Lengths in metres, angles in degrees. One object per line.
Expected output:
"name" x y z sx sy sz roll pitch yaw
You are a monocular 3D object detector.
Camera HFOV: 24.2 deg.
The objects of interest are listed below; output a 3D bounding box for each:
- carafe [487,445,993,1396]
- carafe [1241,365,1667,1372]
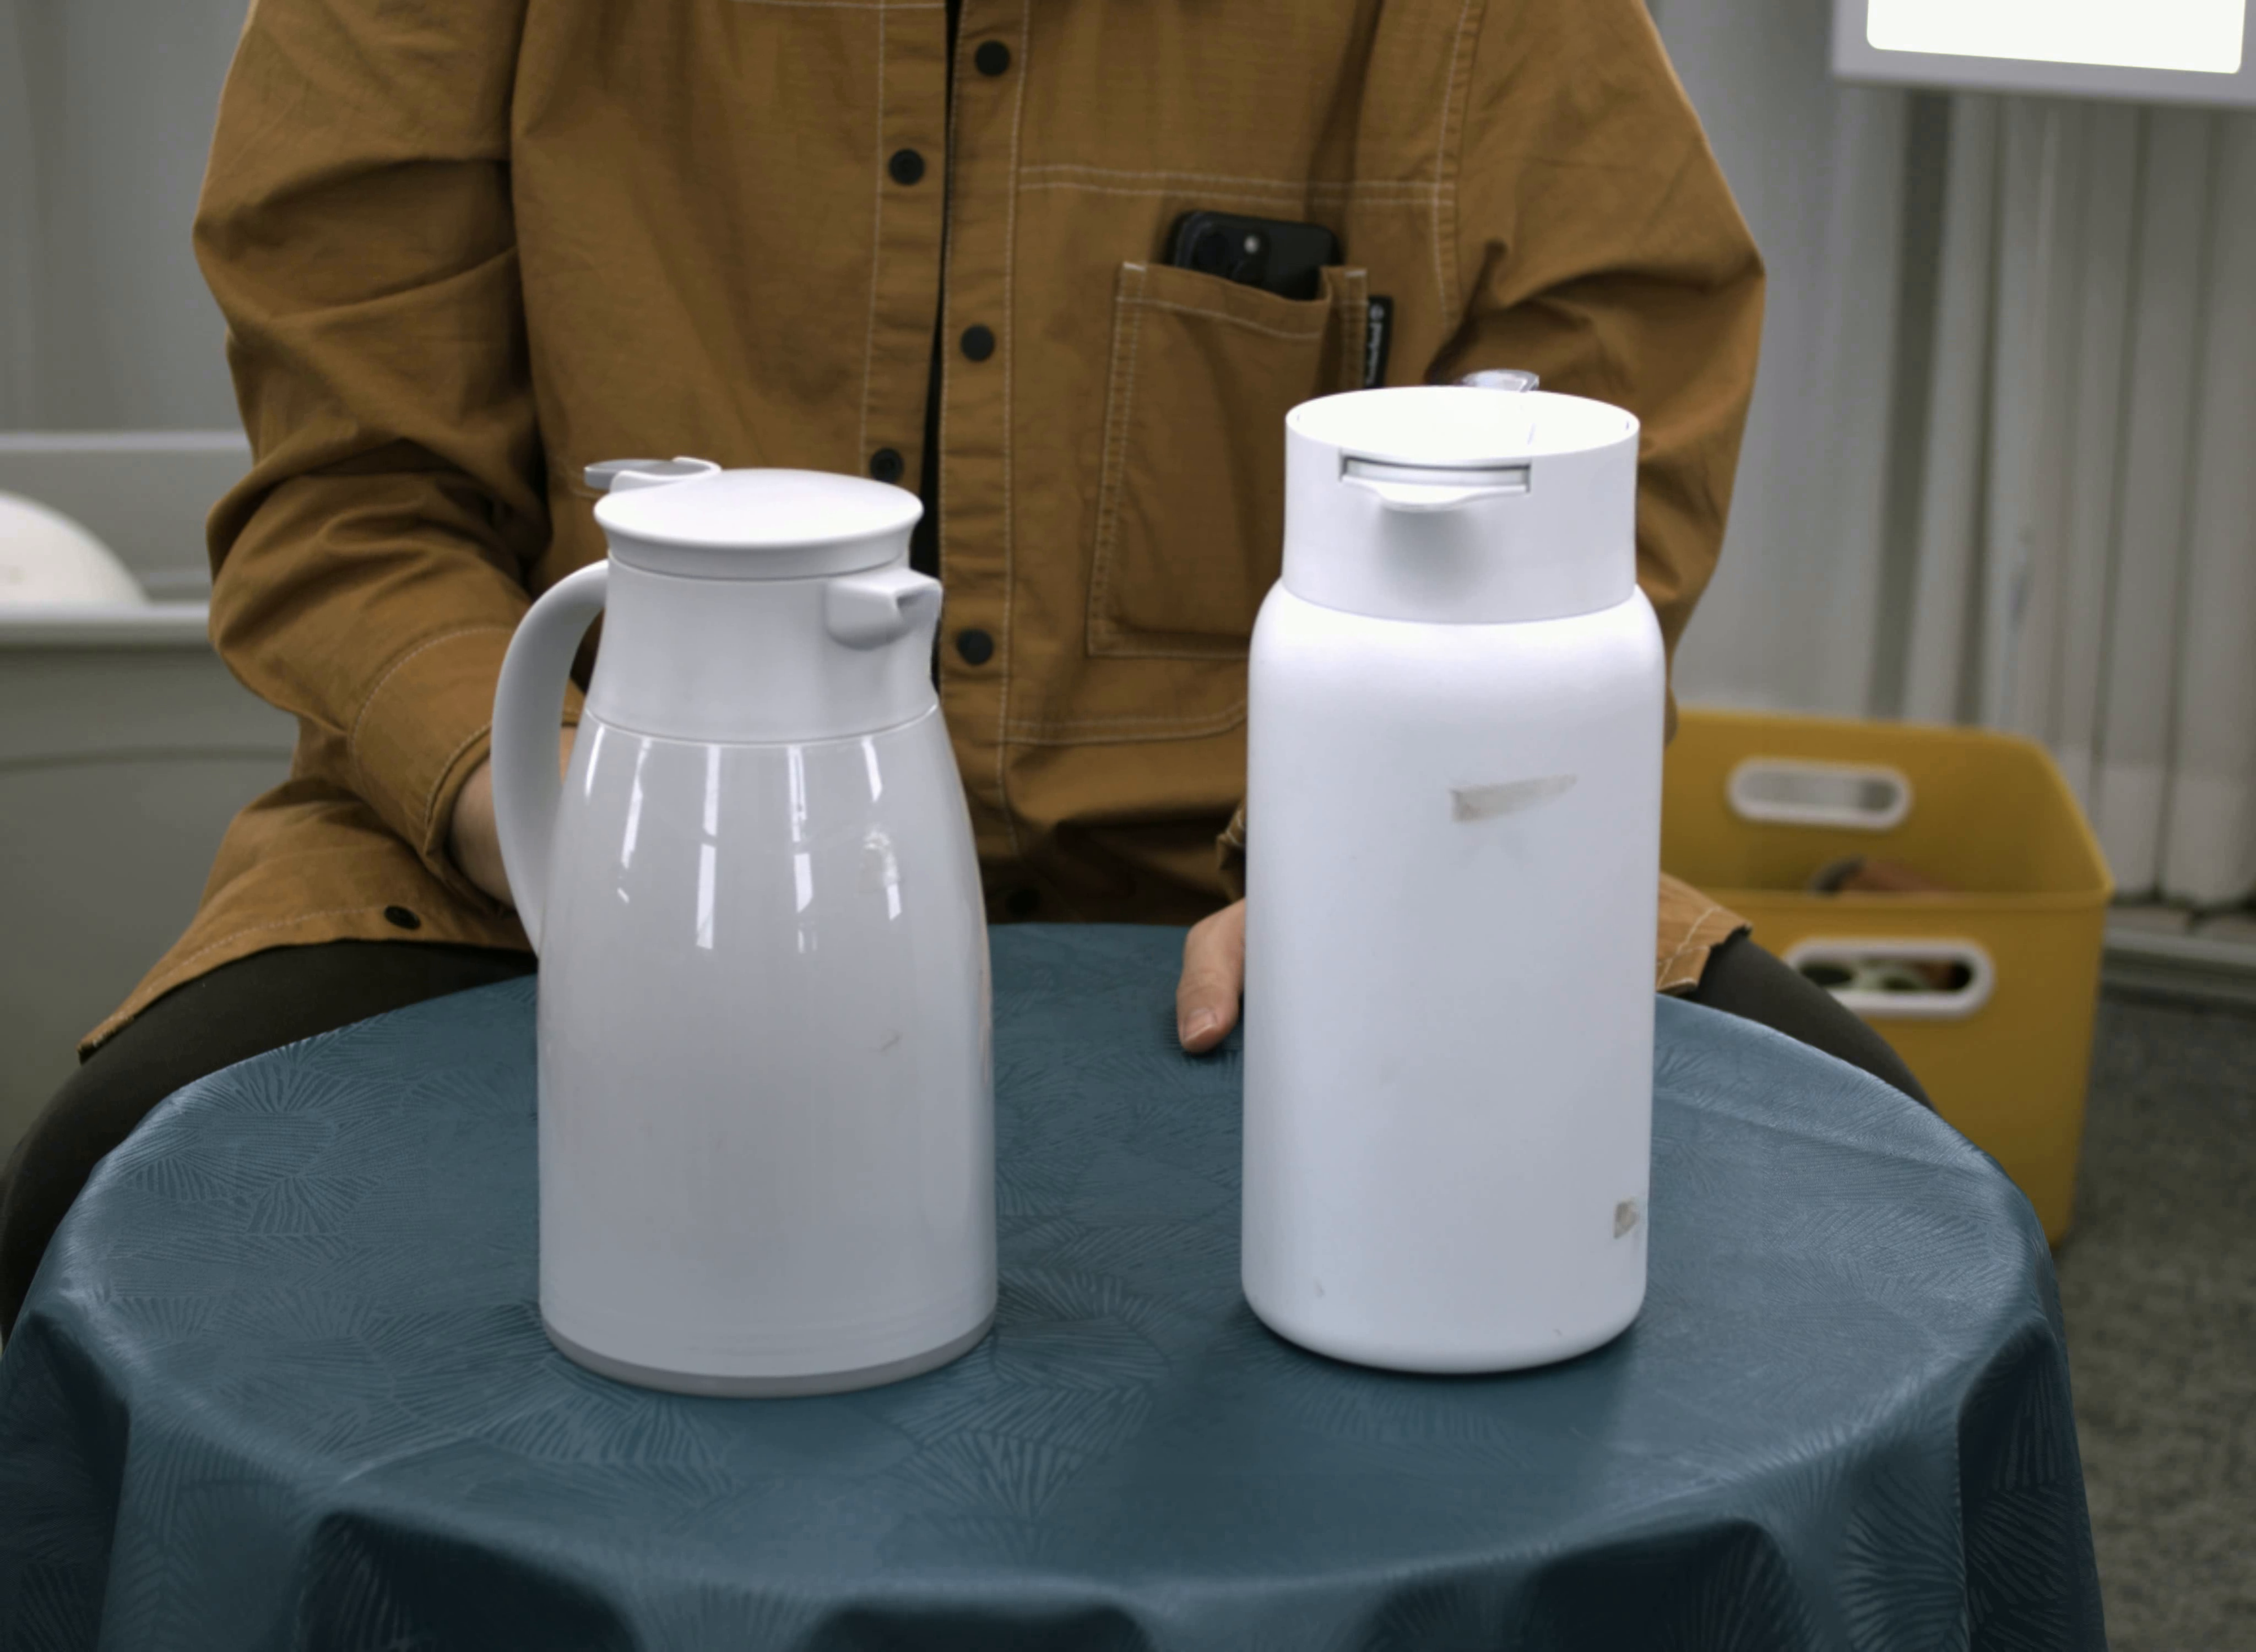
"carafe" -0.118 0.018 1.491 0.165 0.250 0.133 12 20 39
"carafe" 0.094 0.007 1.501 0.123 0.271 0.172 2 16 13
